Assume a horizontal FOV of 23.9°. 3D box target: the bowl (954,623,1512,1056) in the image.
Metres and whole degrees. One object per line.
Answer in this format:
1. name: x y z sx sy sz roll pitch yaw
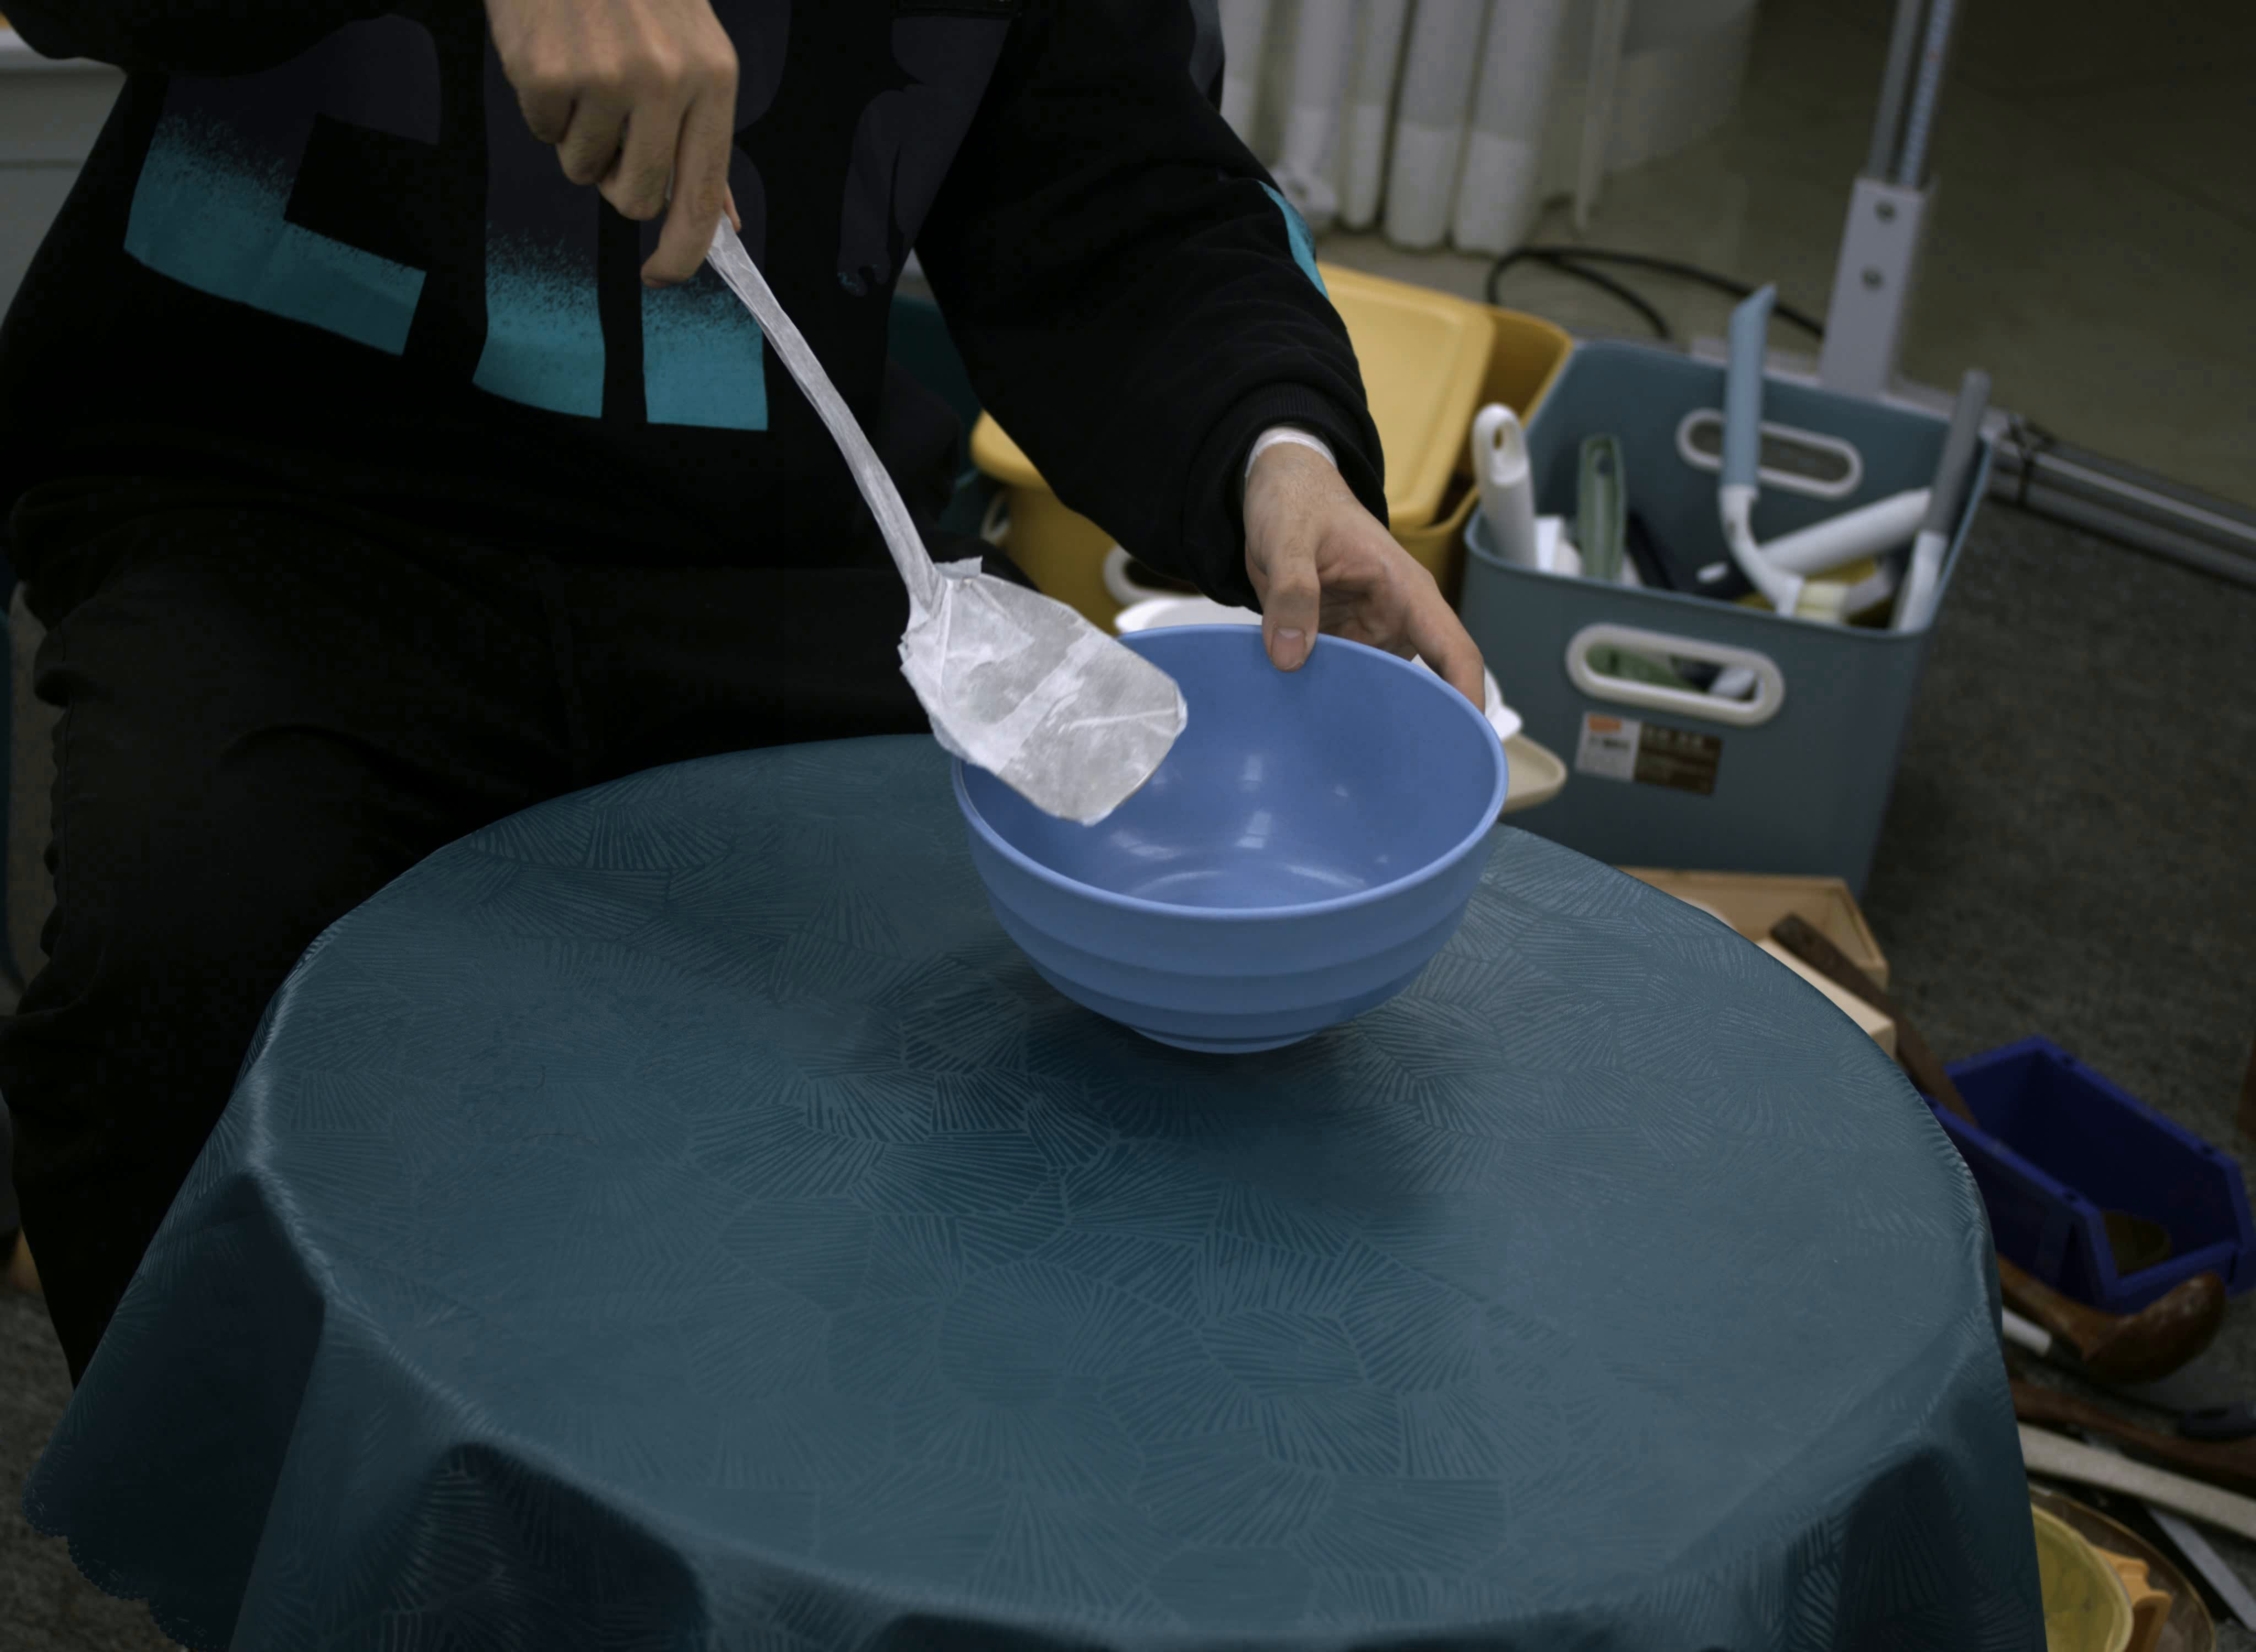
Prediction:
1. bowl: 0.036 0.017 1.891 0.196 0.095 0.198 0 32 0

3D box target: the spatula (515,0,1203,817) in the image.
1. spatula: -0.105 -0.157 1.847 0.045 0.364 0.098 -28 10 43
